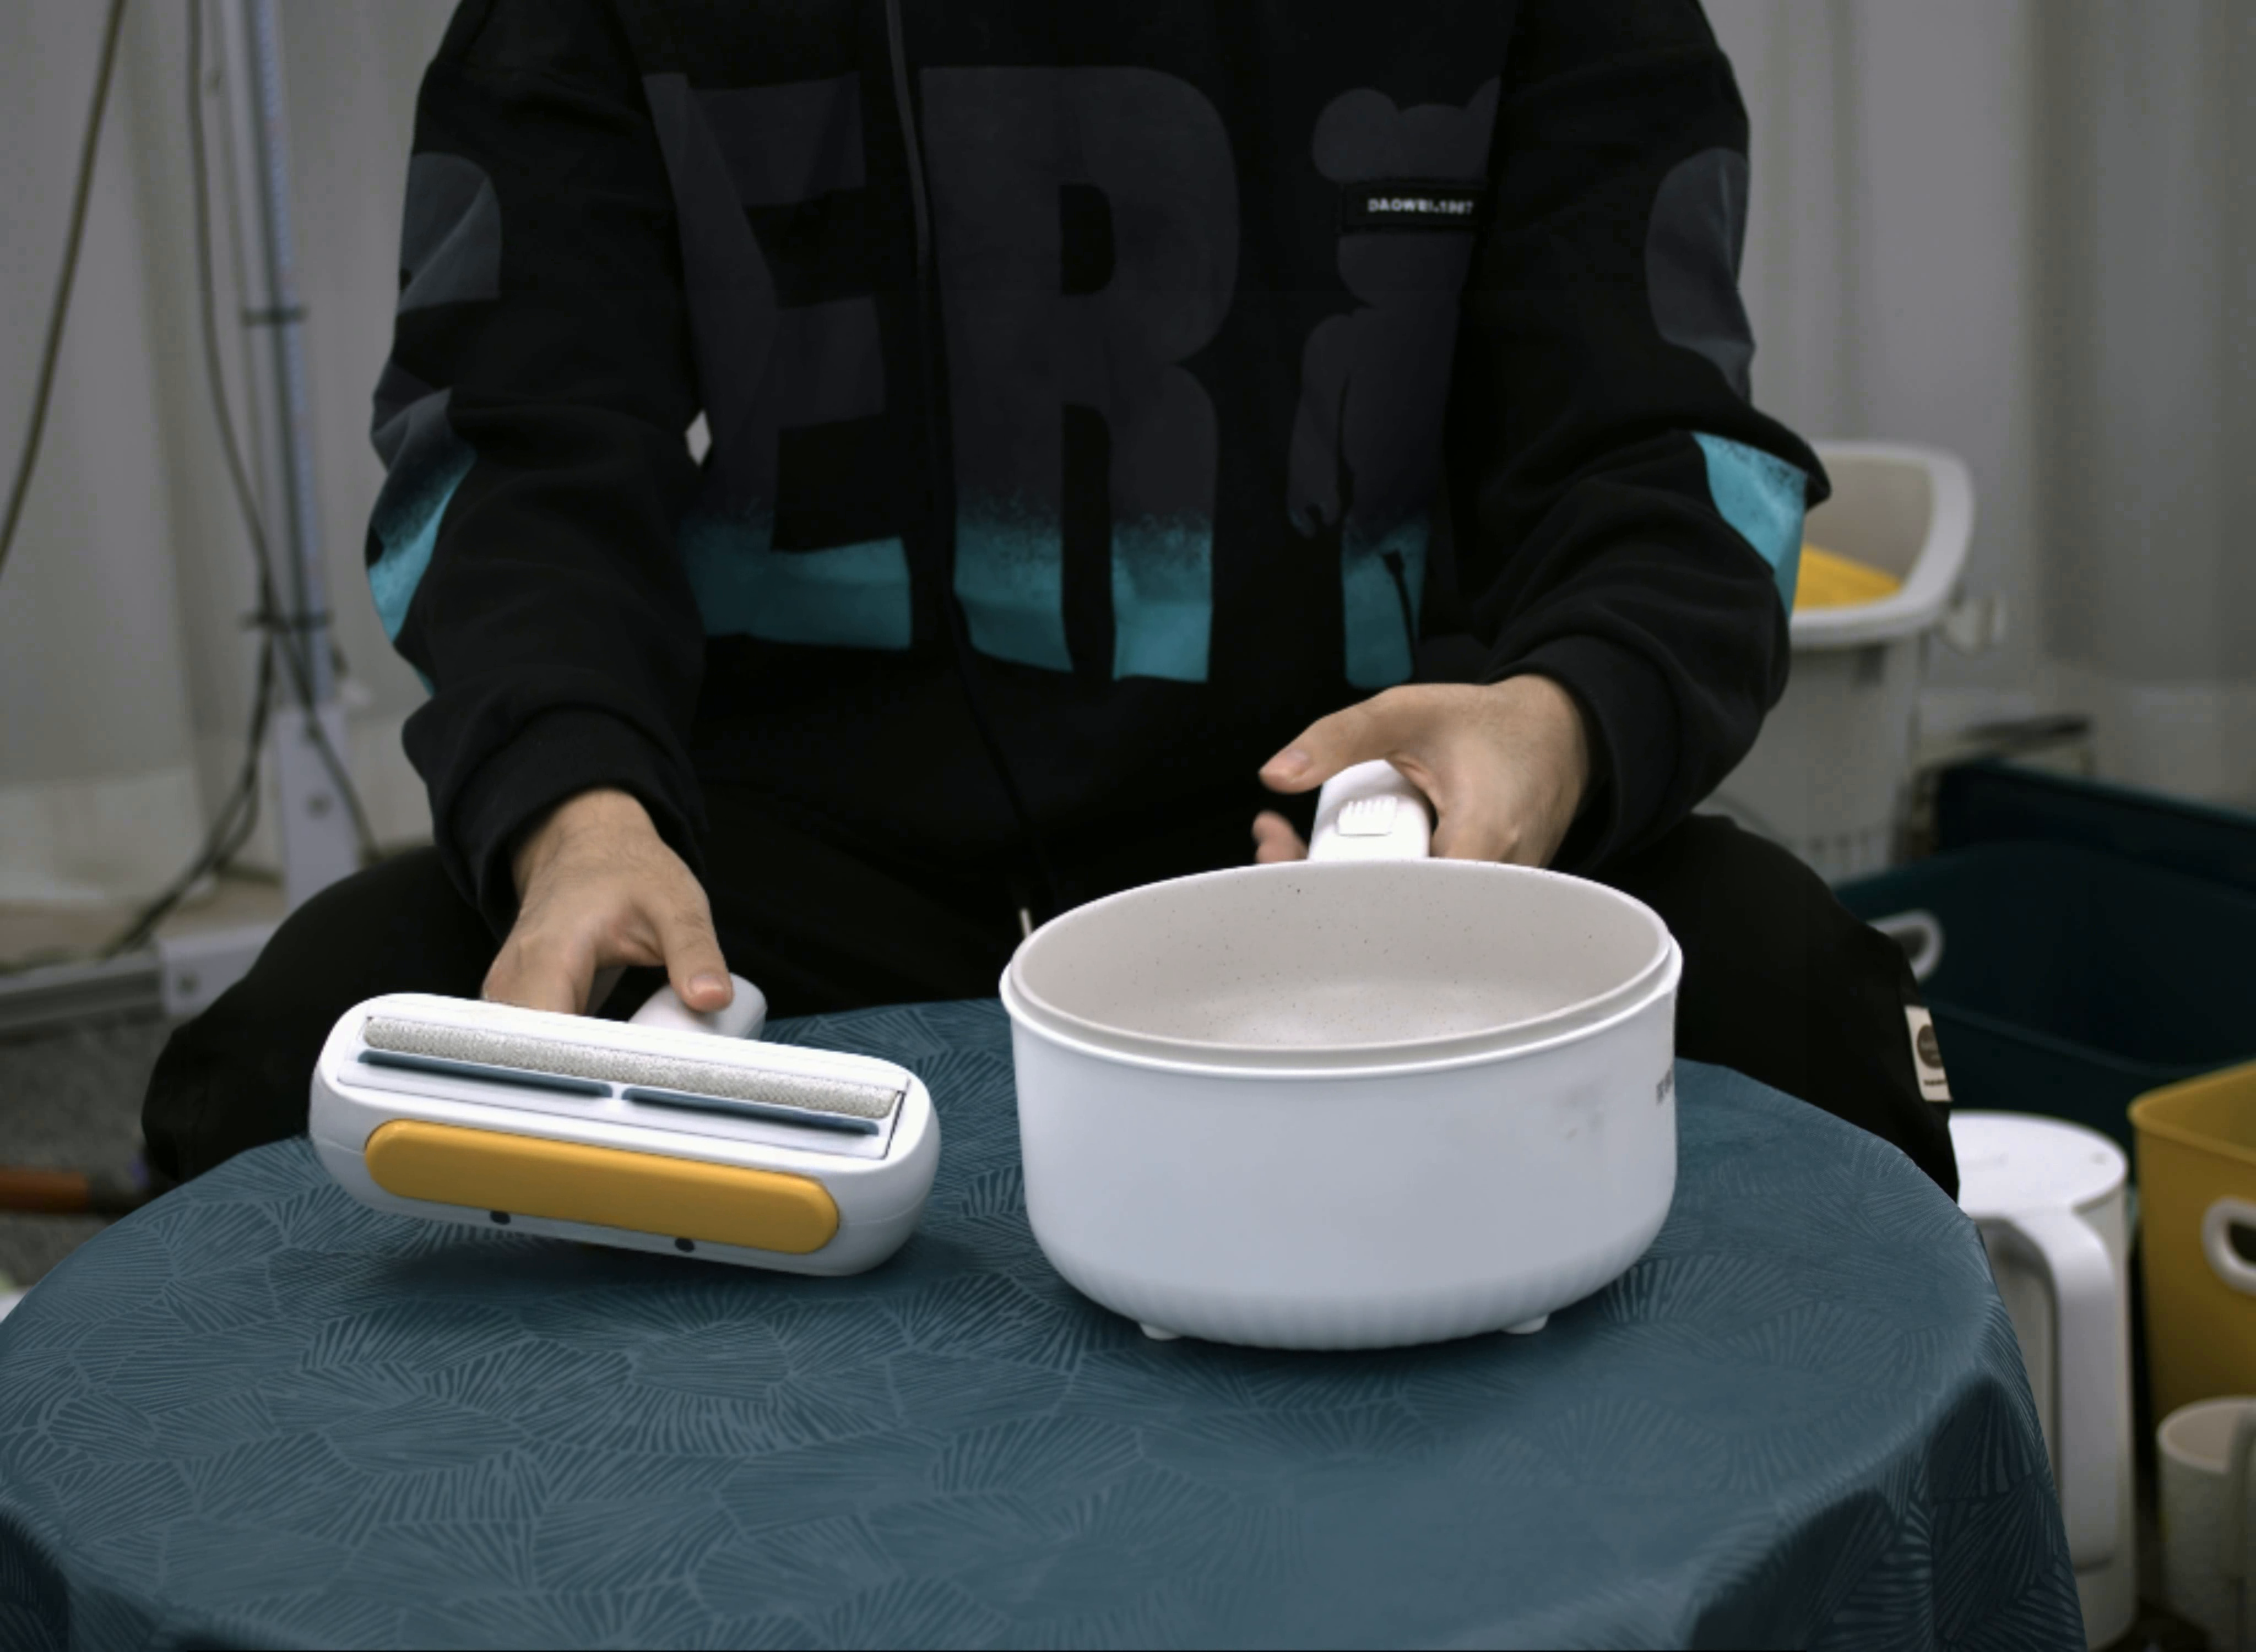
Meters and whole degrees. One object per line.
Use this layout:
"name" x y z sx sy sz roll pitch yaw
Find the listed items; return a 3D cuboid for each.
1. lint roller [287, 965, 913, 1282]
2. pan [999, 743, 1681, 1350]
"lint roller" -0.149 0.076 1.723 0.192 0.073 0.194 5 25 11
"pan" 0.071 0.064 1.694 0.201 0.101 0.357 -2 15 6
